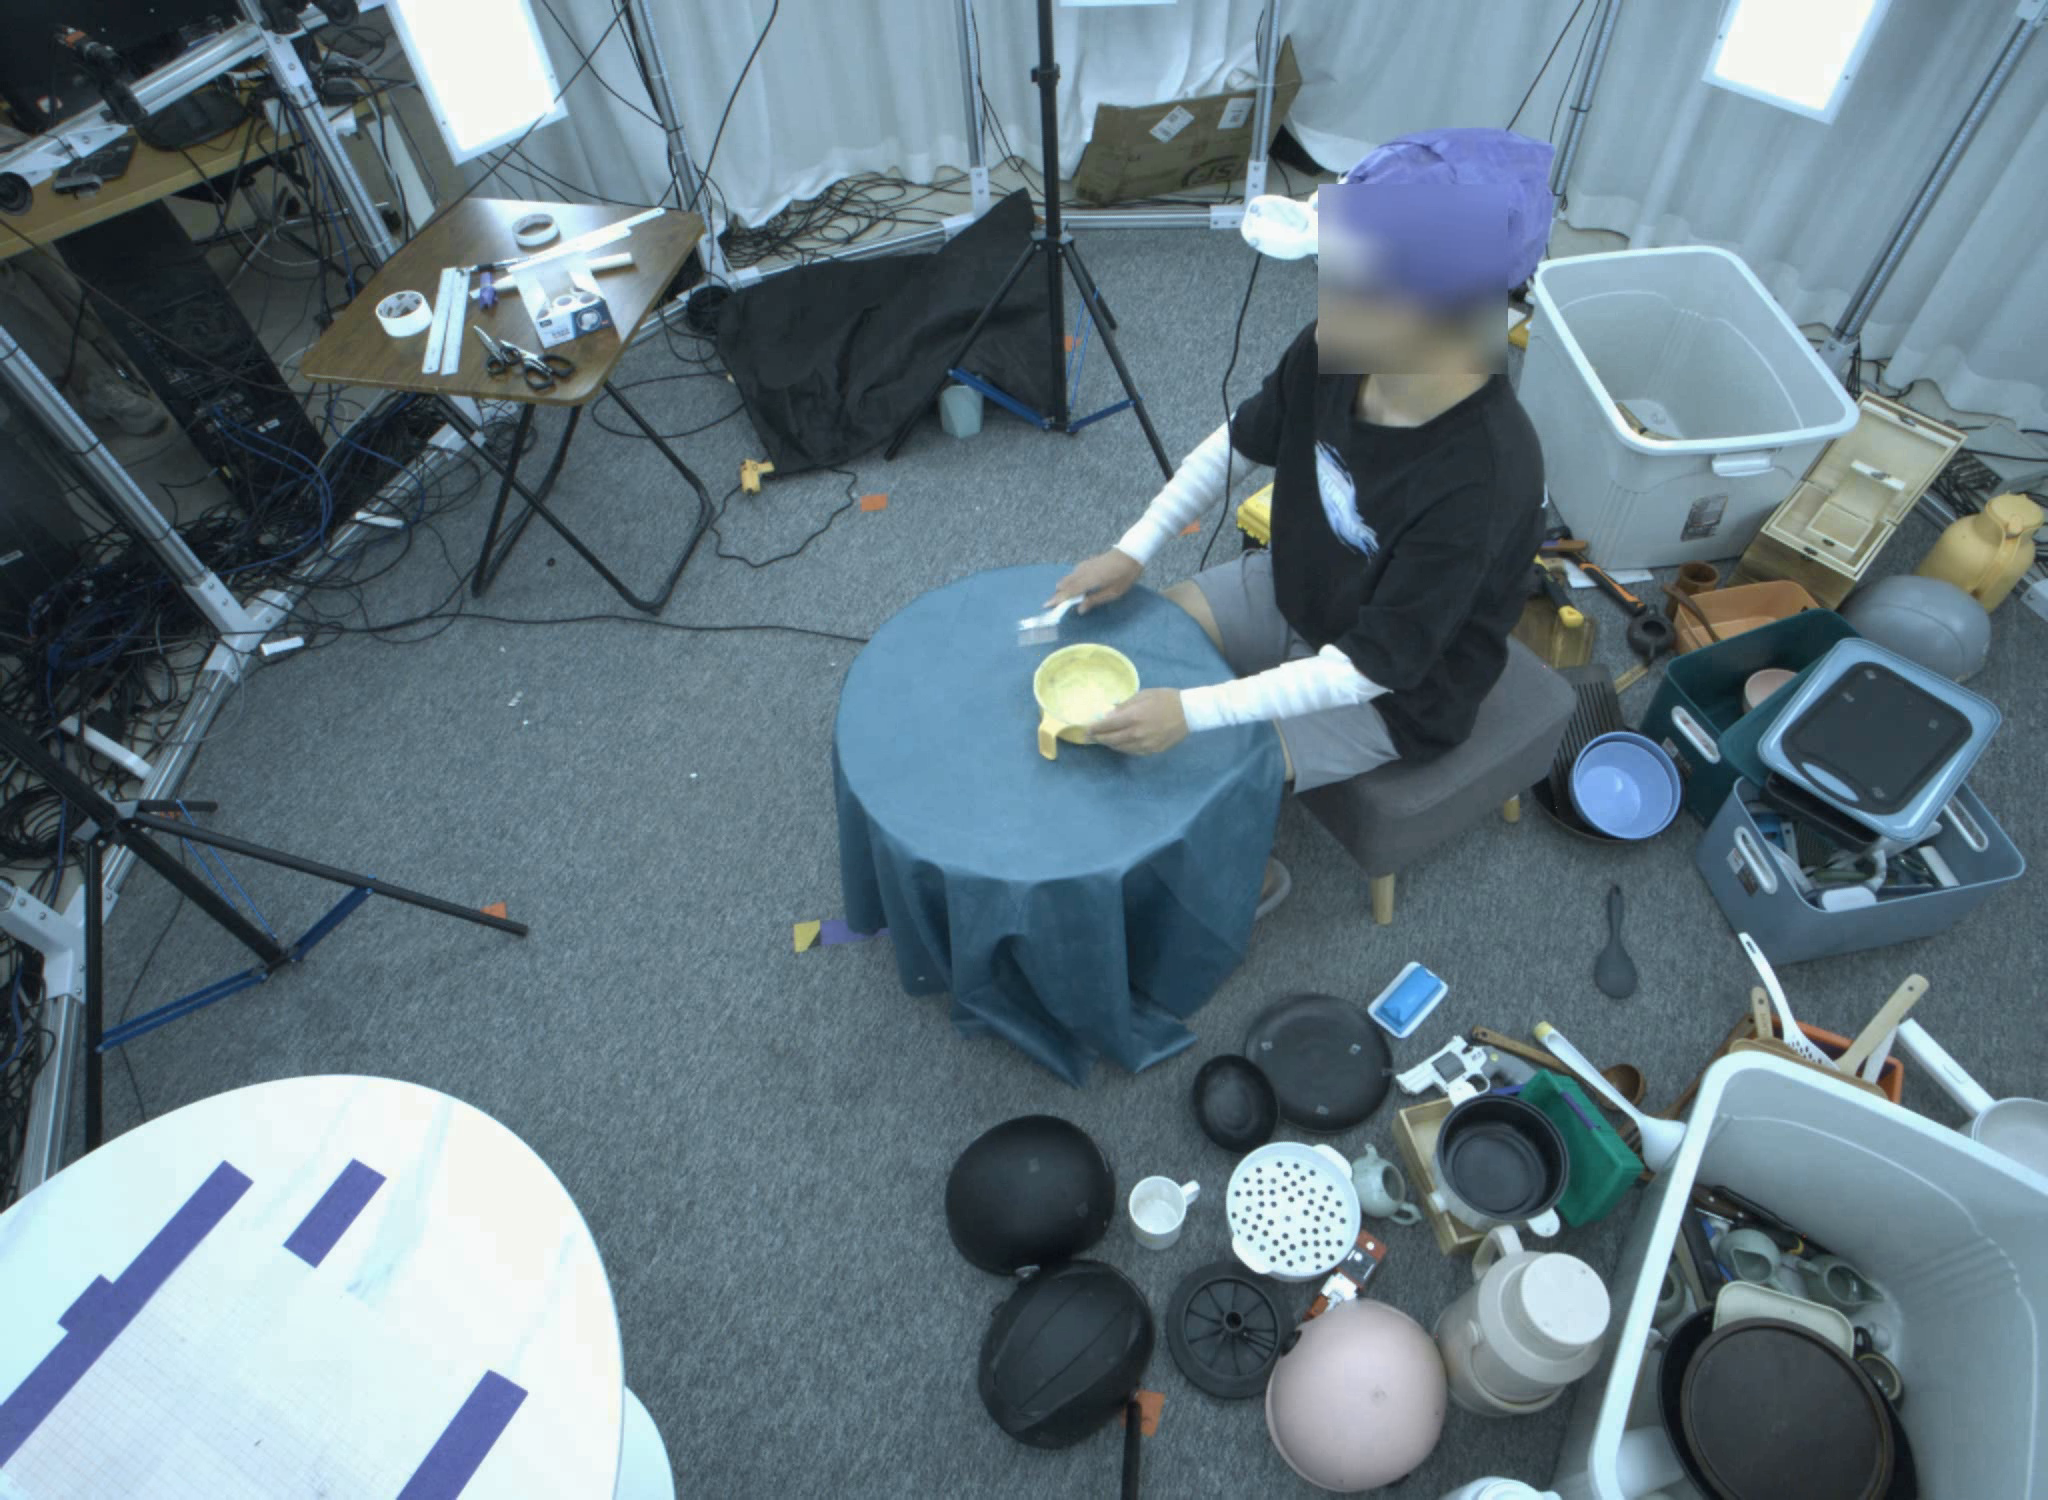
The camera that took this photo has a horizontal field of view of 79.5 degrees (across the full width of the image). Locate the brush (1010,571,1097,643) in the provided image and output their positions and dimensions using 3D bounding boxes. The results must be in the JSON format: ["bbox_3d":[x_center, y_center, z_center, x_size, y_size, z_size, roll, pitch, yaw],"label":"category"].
[{"bbox_3d":[0.055,-0.216,1.878,0.034,0.050,0.246,-16,14,39],"label":"brush"}]

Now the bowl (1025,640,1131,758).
[{"bbox_3d":[0.070,-0.072,1.785,0.151,0.075,0.180,28,61,16],"label":"bowl"}]
